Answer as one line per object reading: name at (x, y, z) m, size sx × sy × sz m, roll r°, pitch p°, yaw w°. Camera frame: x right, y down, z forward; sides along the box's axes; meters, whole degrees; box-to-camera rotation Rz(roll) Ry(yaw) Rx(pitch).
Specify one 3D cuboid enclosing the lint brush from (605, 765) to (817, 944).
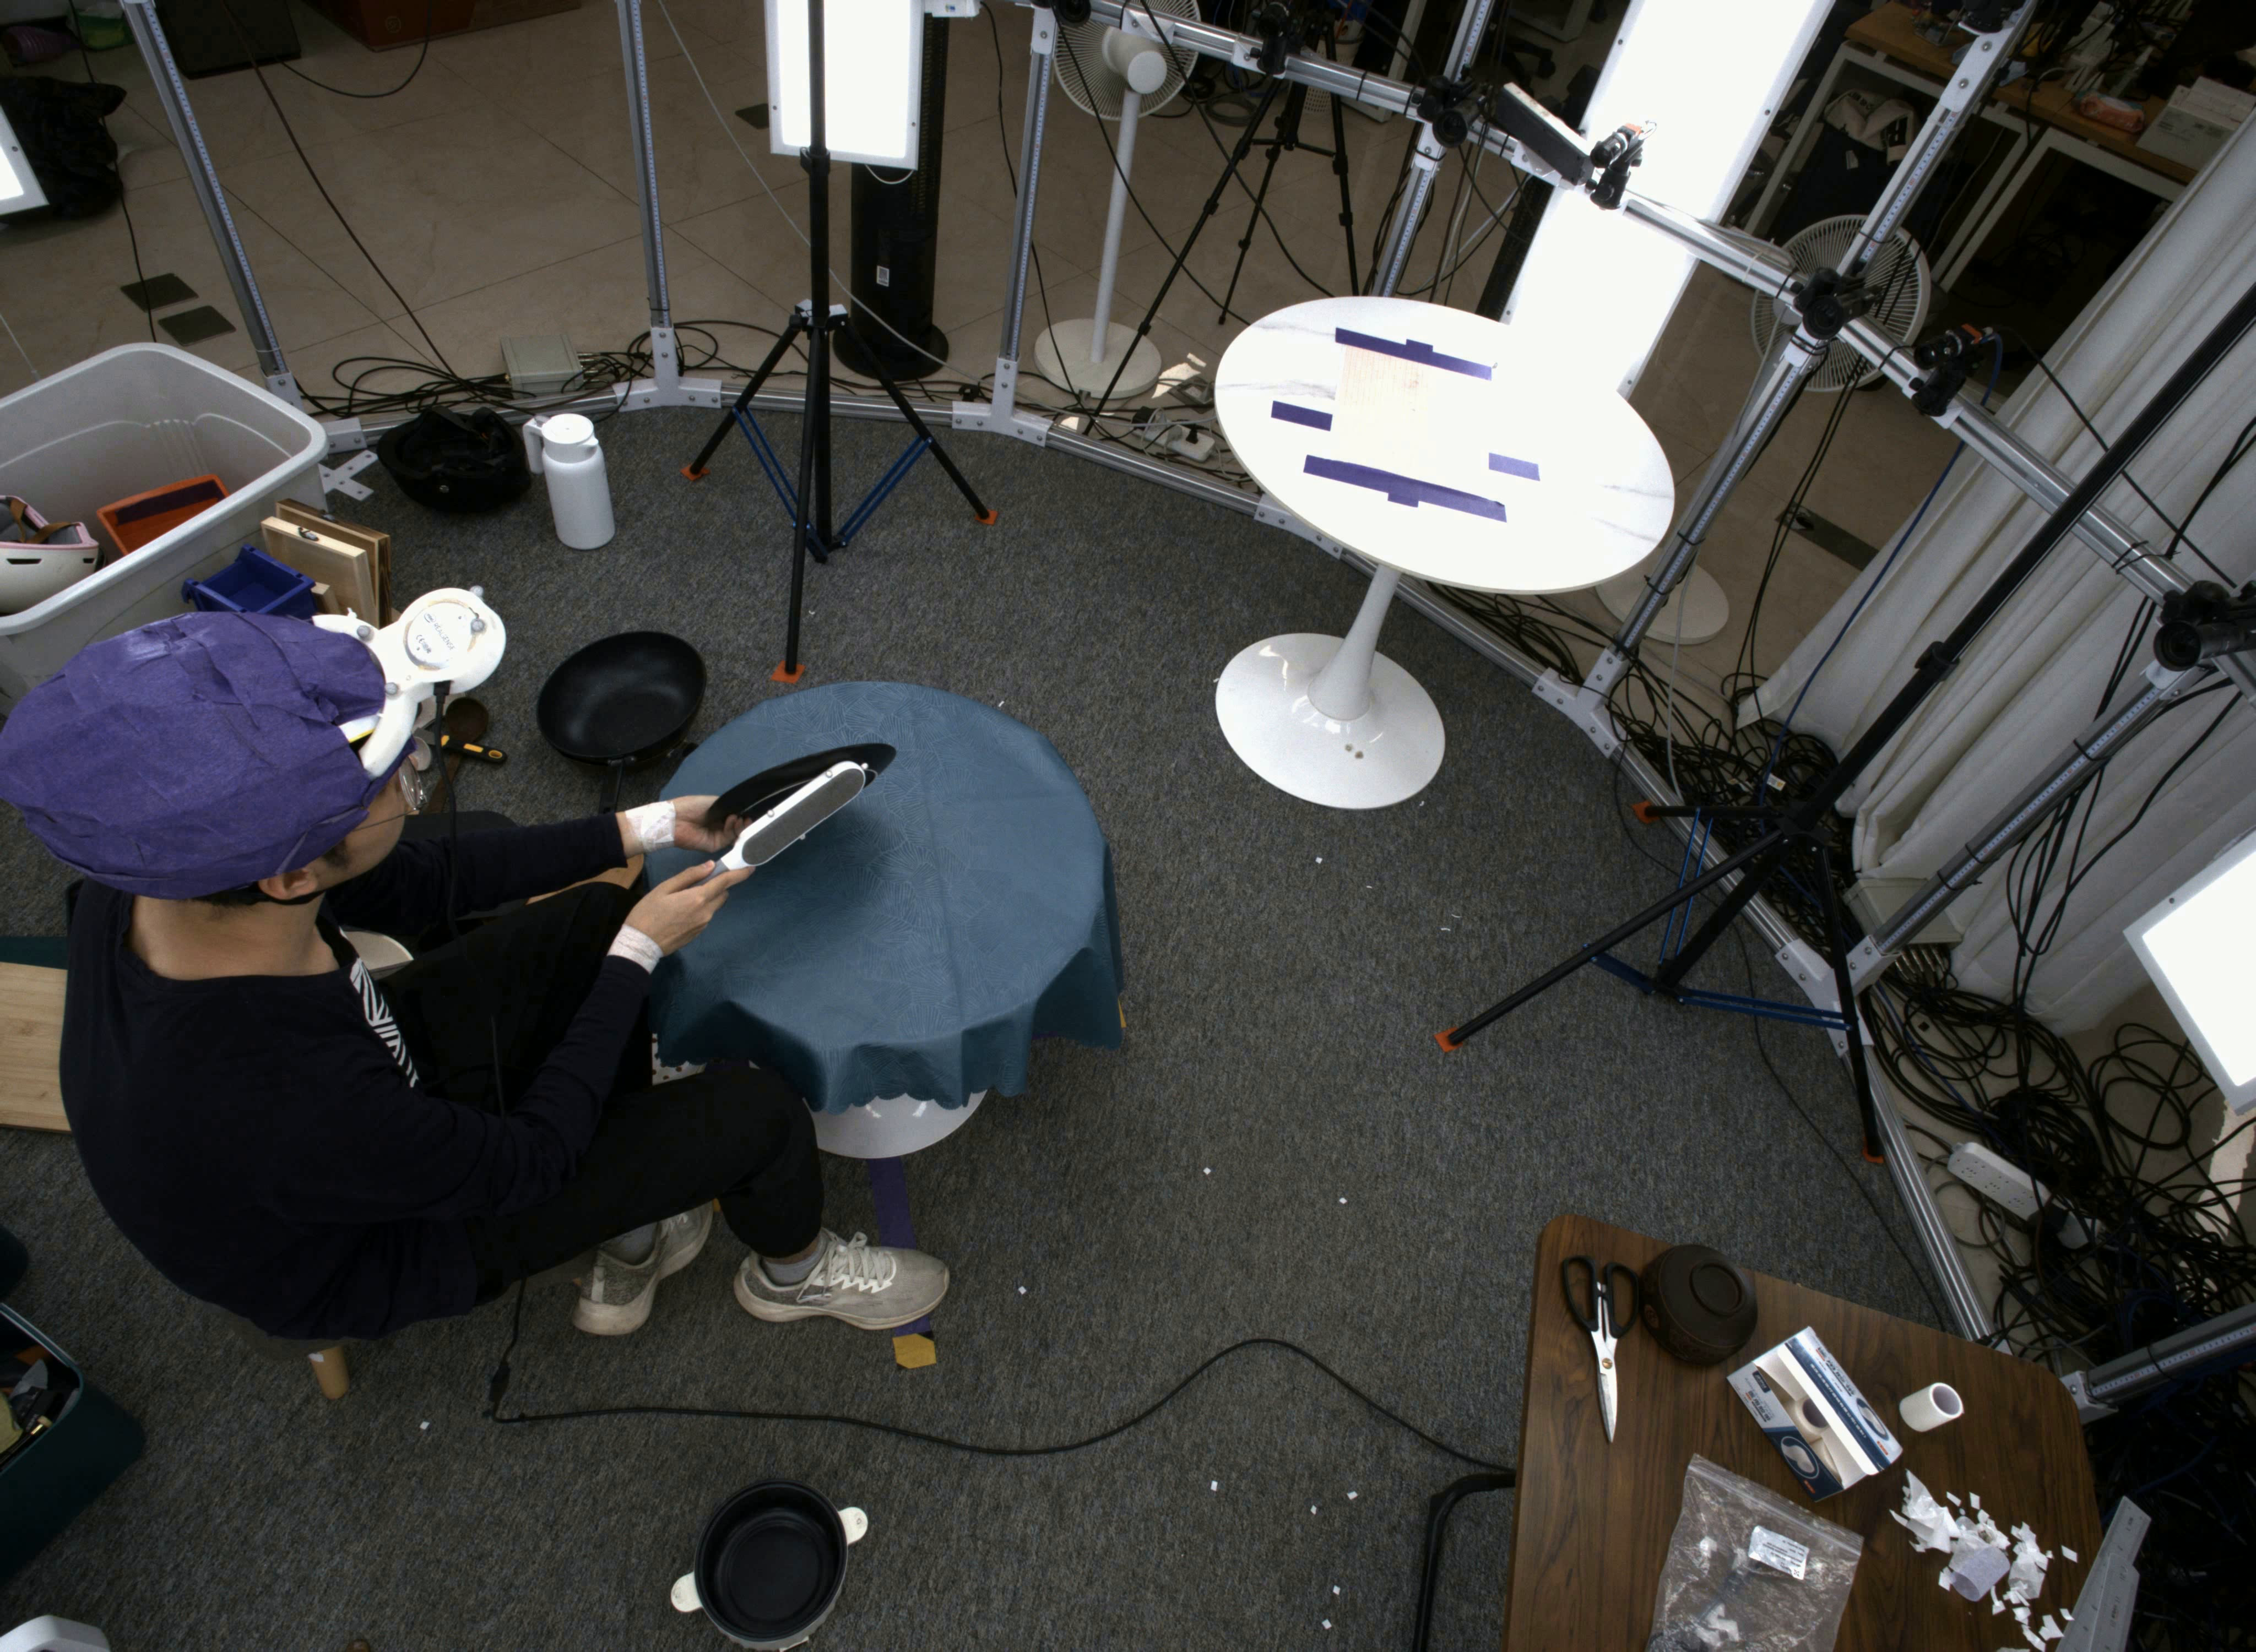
lint brush at (-0.489, 0.030, 1.512) m, size 0.309 × 0.062 × 0.020 m, roll -41°, pitch 64°, yaw -17°

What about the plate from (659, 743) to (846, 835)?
plate at (-0.462, -0.039, 1.608) m, size 0.245 × 0.243 × 0.023 m, roll -21°, pitch 82°, yaw -26°
